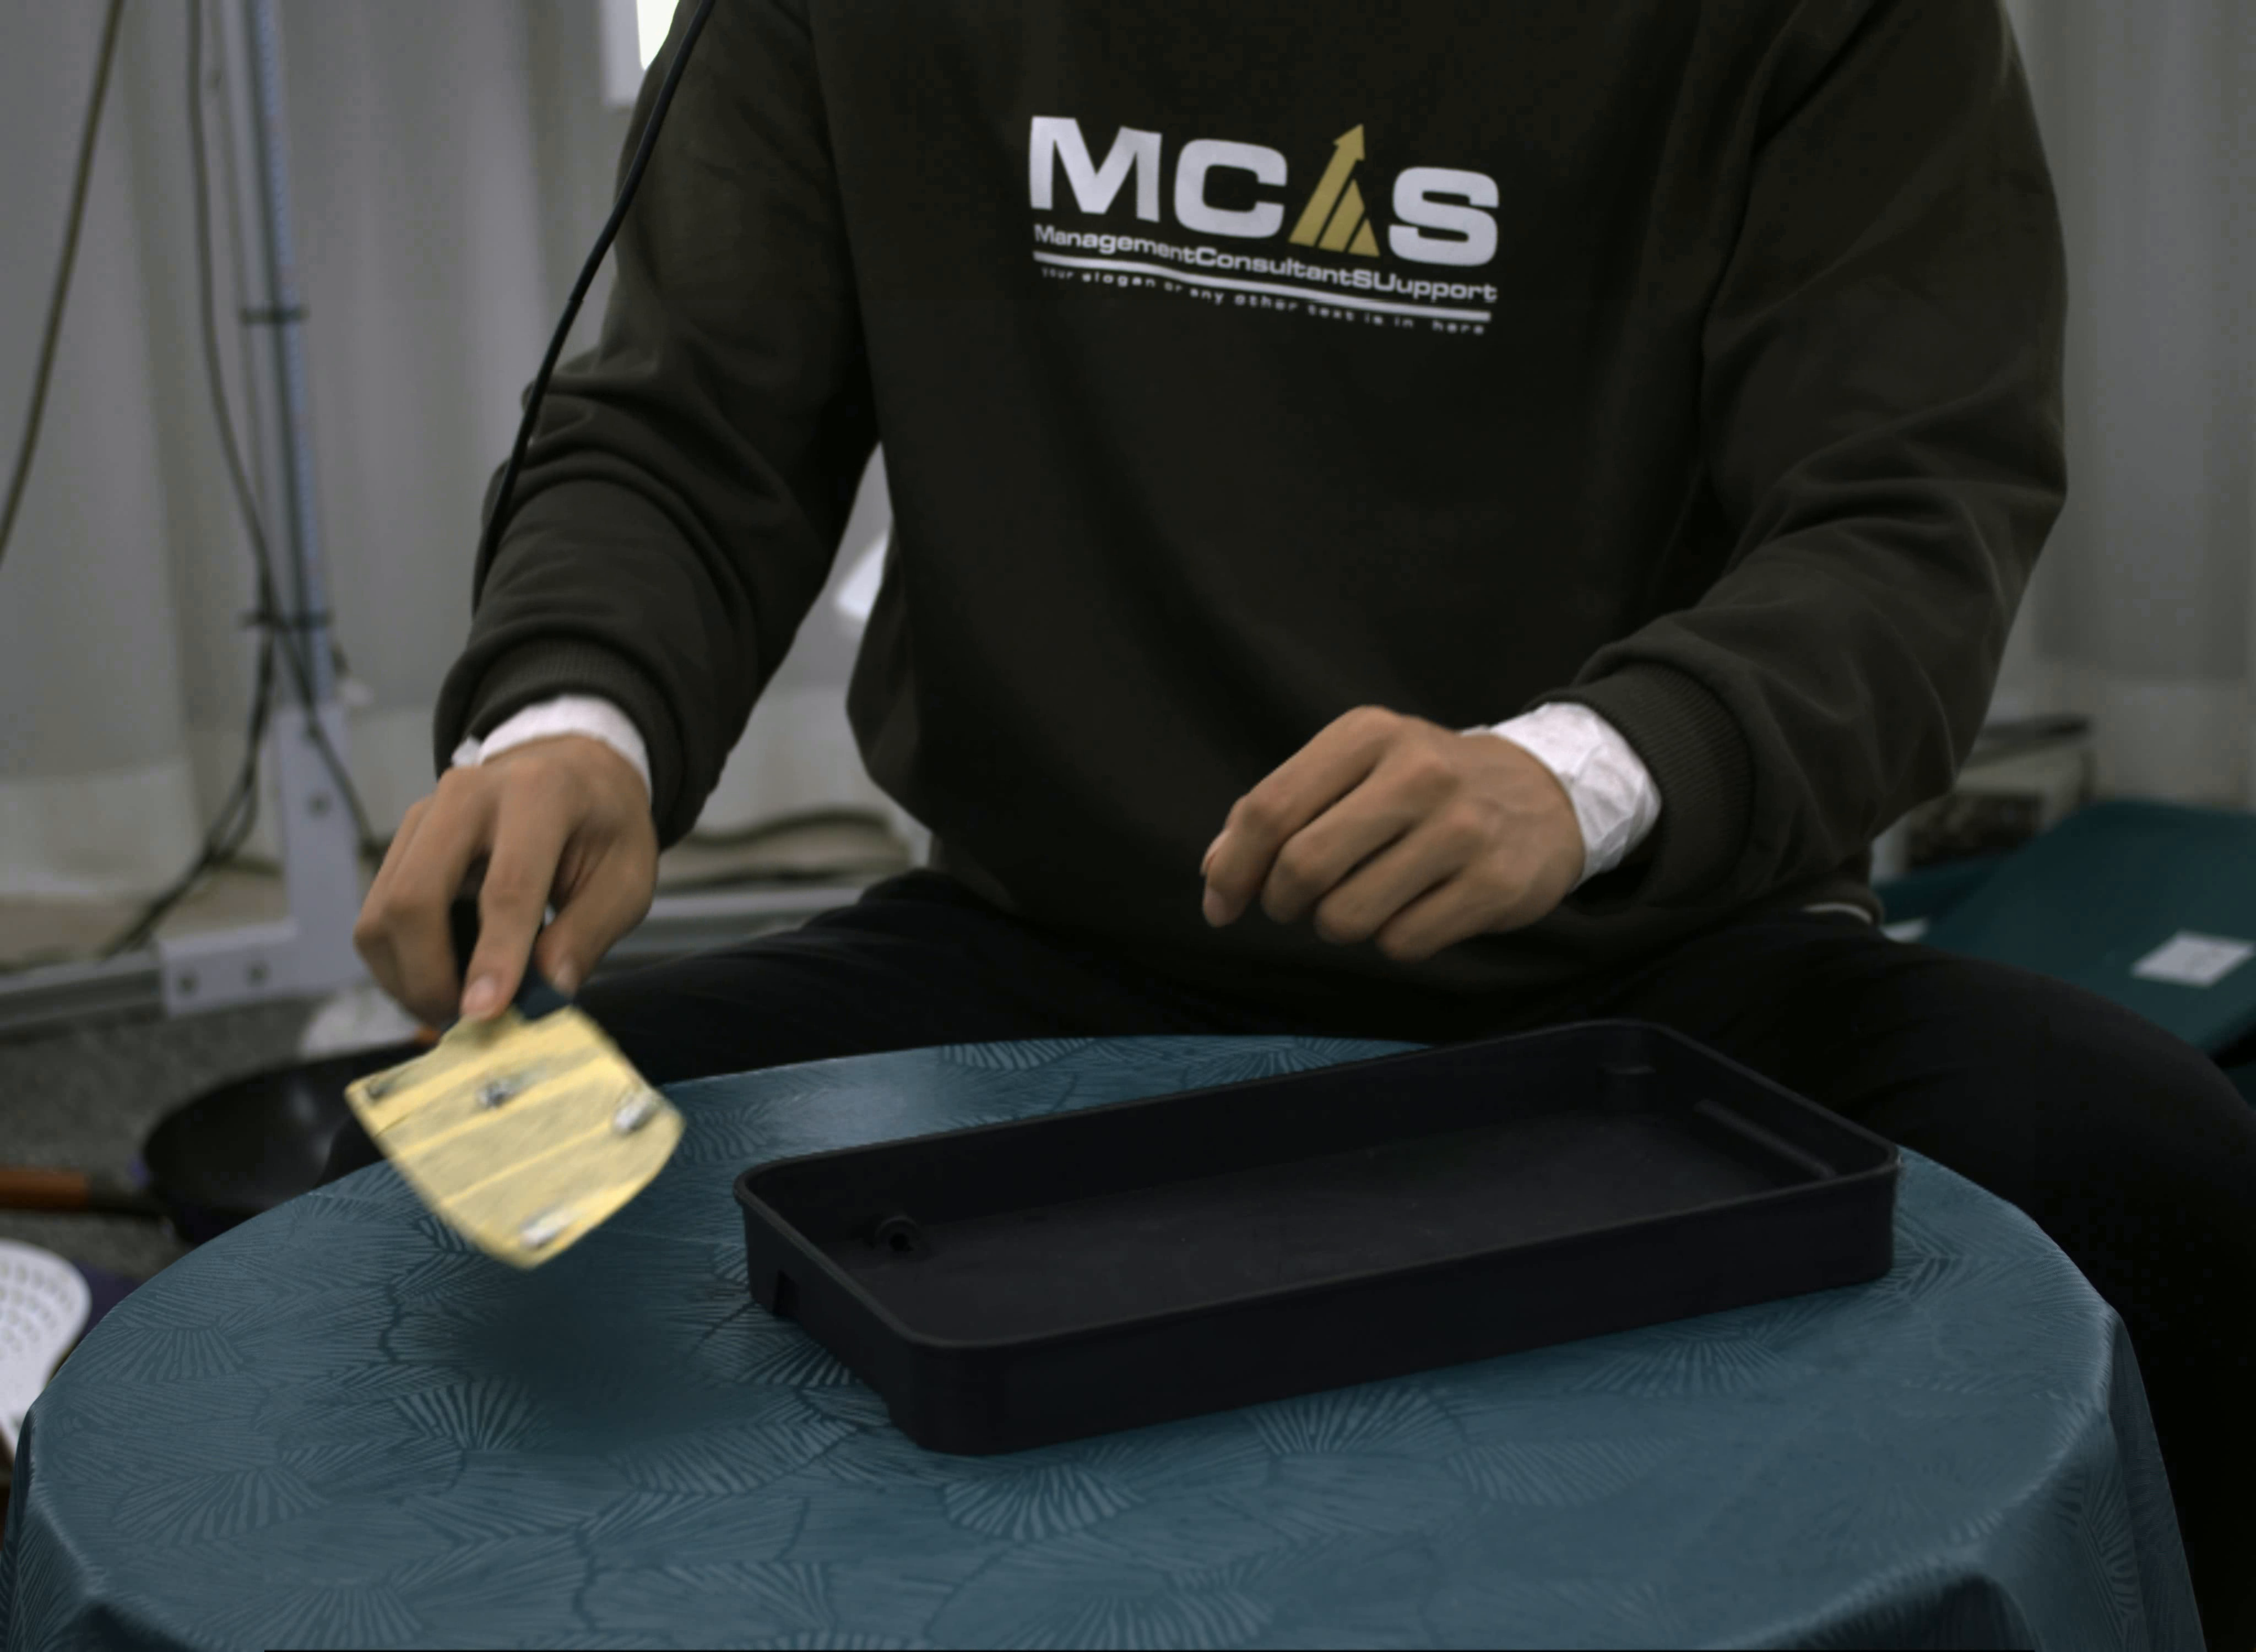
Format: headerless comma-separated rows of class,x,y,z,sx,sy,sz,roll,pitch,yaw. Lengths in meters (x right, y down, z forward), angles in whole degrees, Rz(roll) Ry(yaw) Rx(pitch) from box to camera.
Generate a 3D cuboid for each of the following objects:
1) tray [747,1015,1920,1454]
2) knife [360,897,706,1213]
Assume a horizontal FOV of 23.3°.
tray,0.061,0.117,1.629,0.316,0.037,0.185,-9,15,-23
knife,-0.190,0.069,1.645,0.081,0.027,0.292,-22,20,-13
